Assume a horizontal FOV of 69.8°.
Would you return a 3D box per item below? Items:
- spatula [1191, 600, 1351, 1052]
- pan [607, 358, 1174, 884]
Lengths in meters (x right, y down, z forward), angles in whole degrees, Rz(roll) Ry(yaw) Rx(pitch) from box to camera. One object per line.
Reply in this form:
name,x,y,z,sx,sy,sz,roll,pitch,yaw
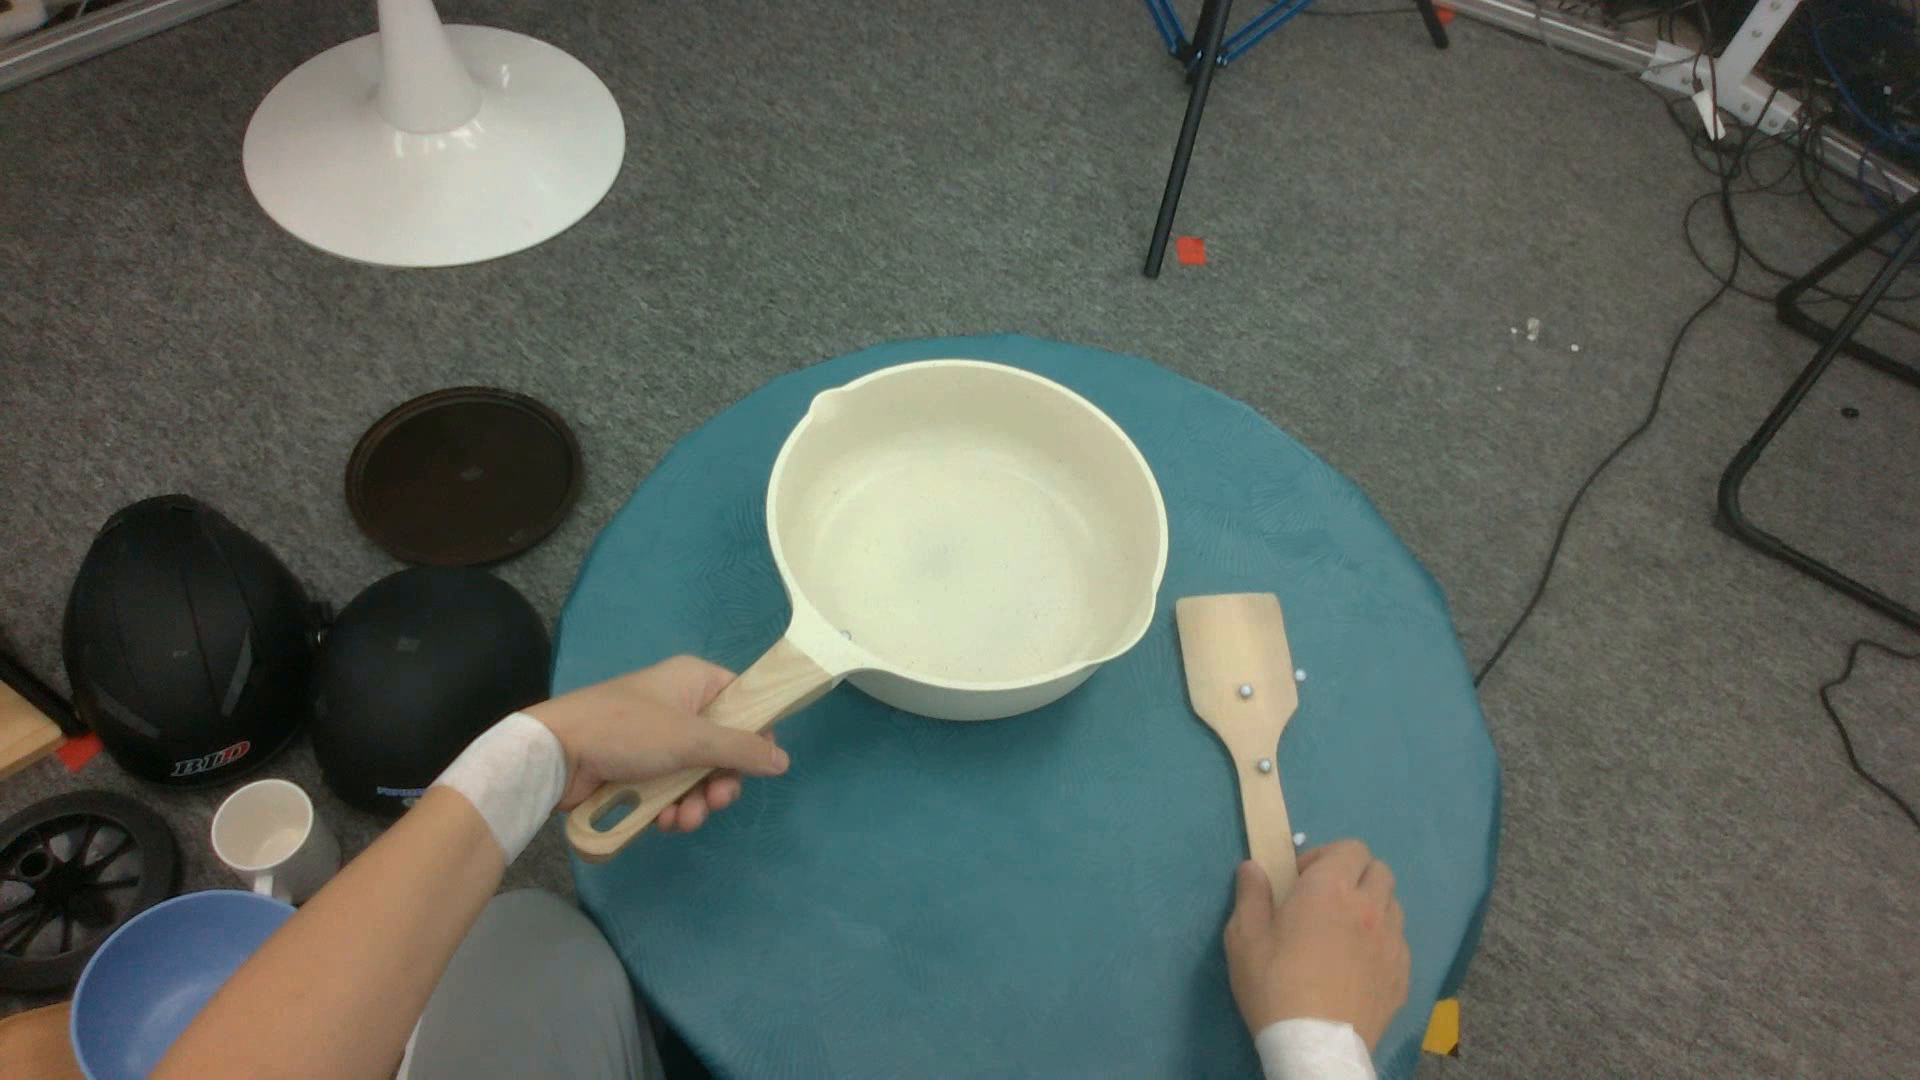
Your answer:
spatula,0.200,0.165,0.851,0.072,0.010,0.294,-4,56,0
pan,-0.048,0.056,0.847,0.263,0.101,0.437,36,60,16
